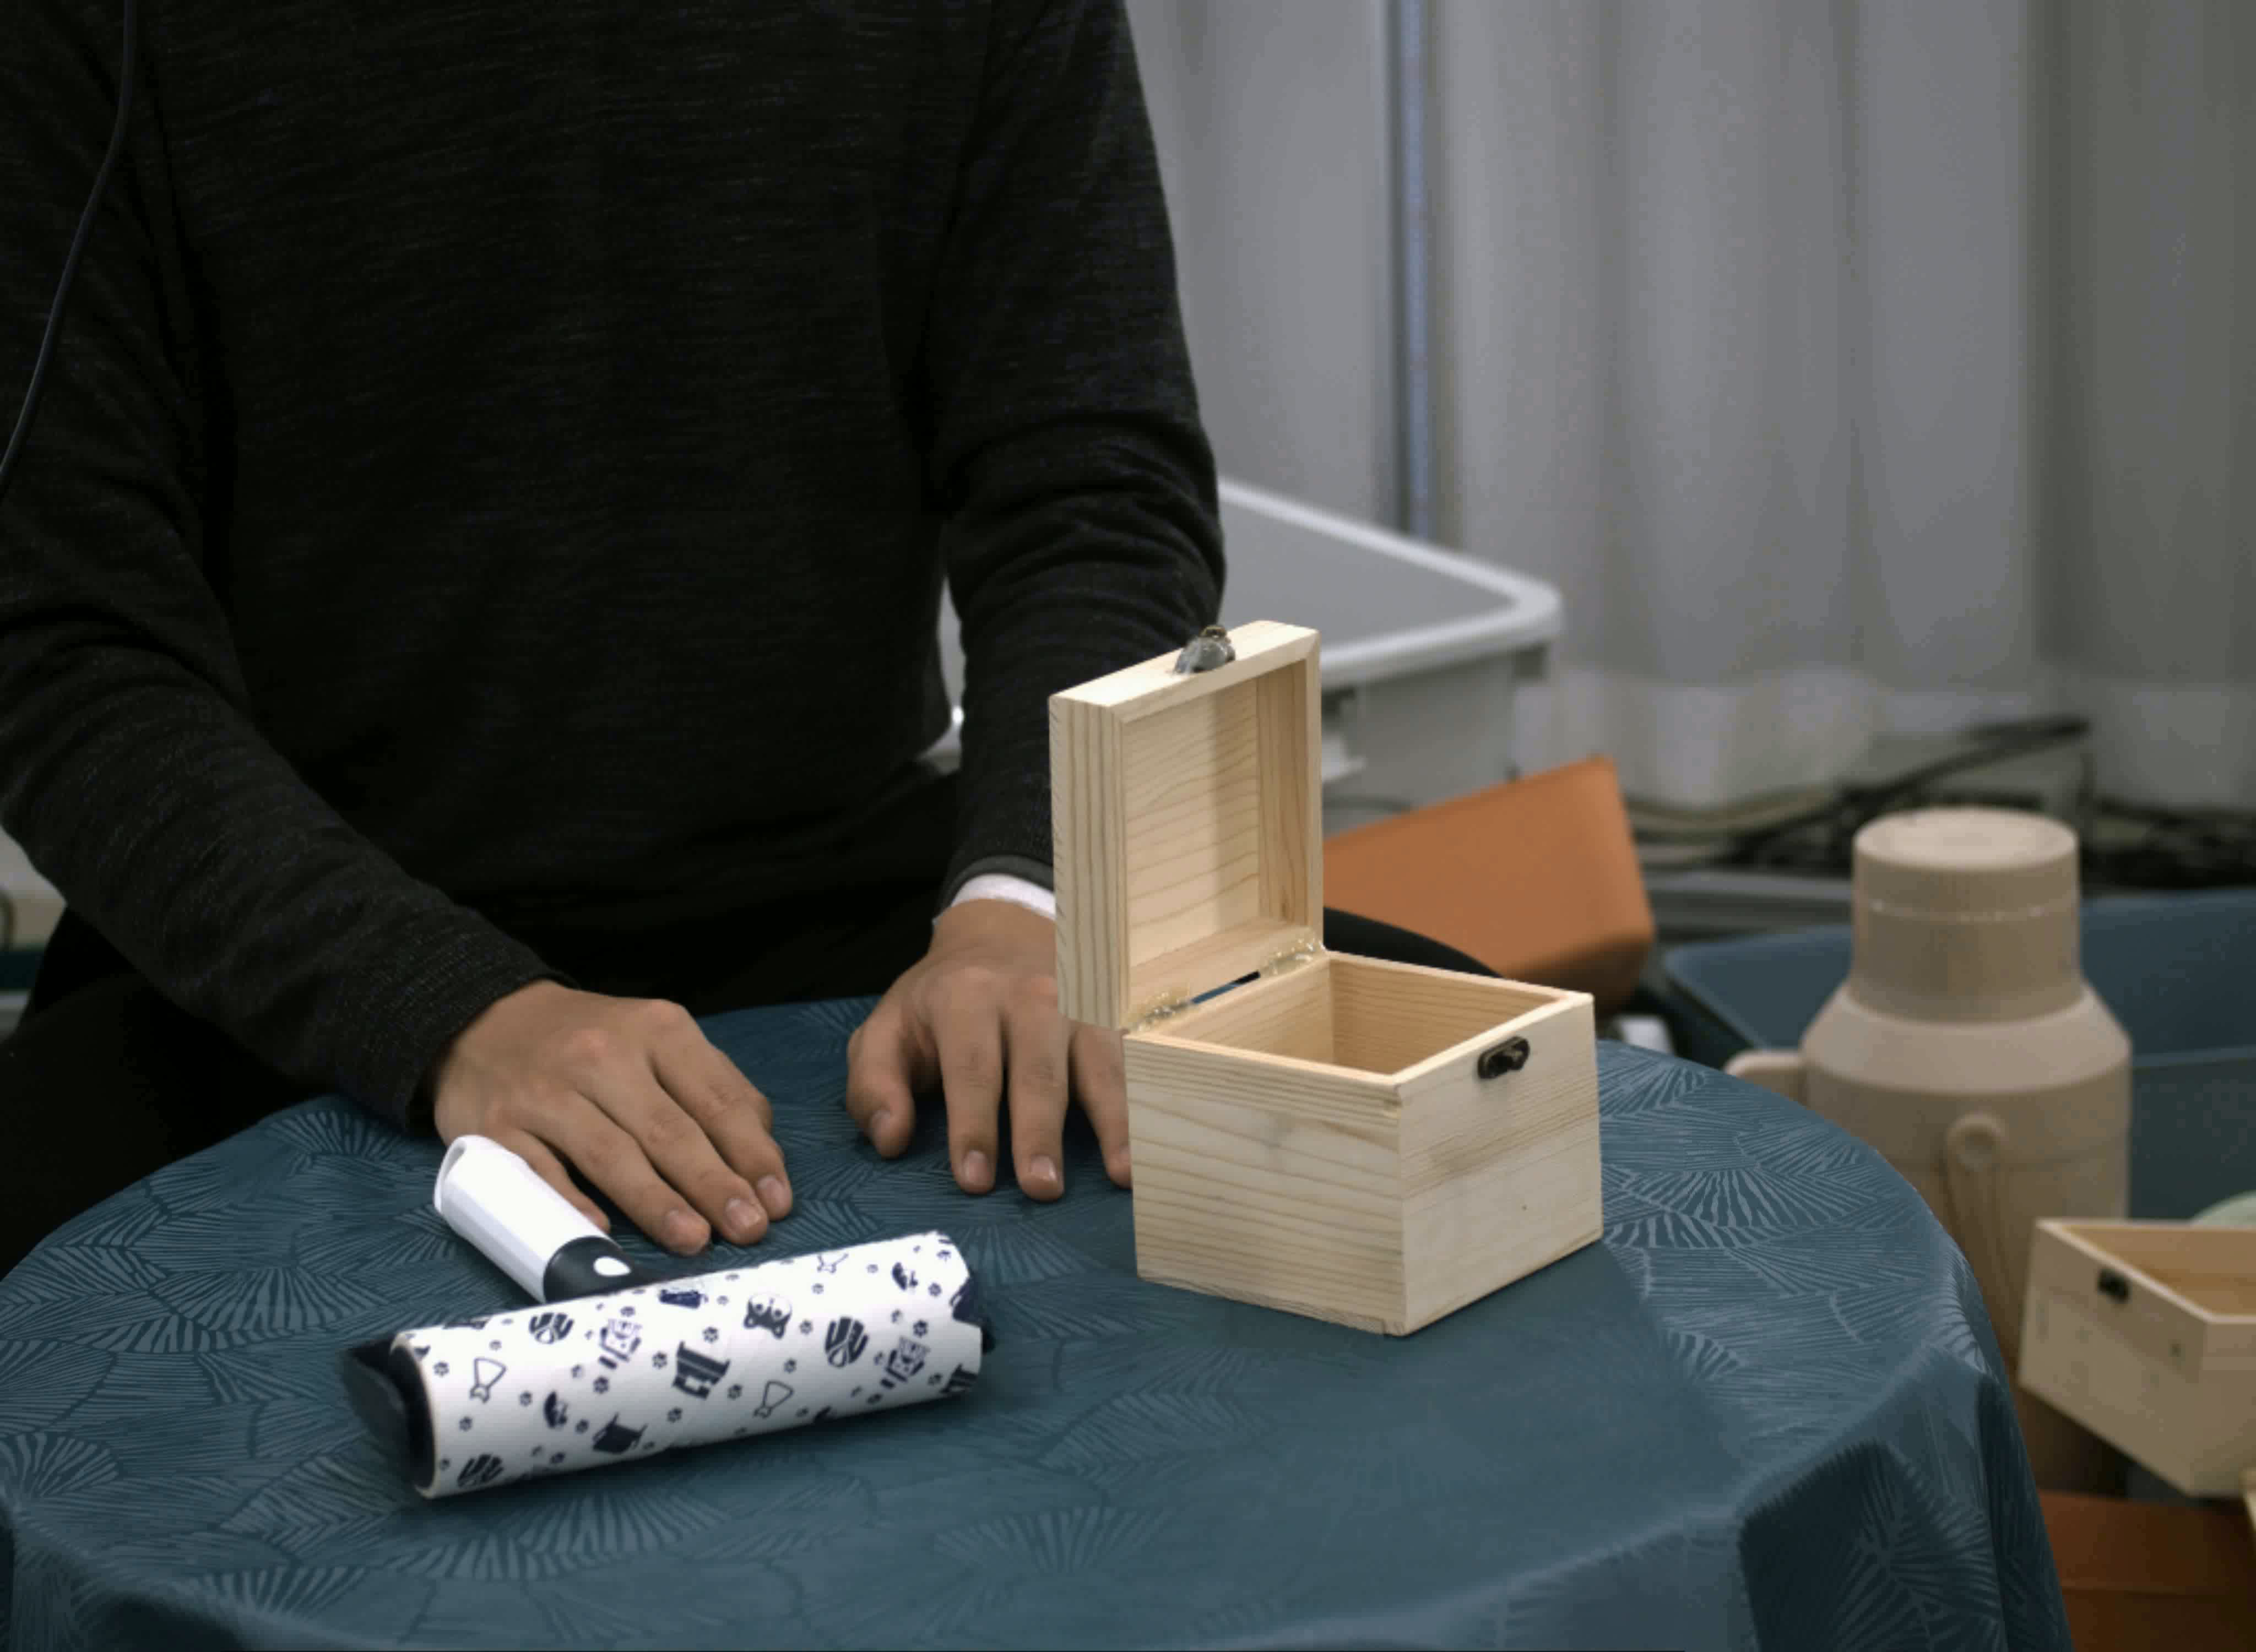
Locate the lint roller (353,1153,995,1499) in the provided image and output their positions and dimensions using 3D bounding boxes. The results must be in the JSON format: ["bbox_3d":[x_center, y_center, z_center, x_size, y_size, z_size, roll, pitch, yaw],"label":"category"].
[{"bbox_3d":[-0.164,0.129,1.609,0.175,0.050,0.249,-10,15,-22],"label":"lint roller"}]

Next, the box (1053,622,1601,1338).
[{"bbox_3d":[0.061,0.042,1.625,0.134,0.184,0.102,7,16,39],"label":"box"}]
